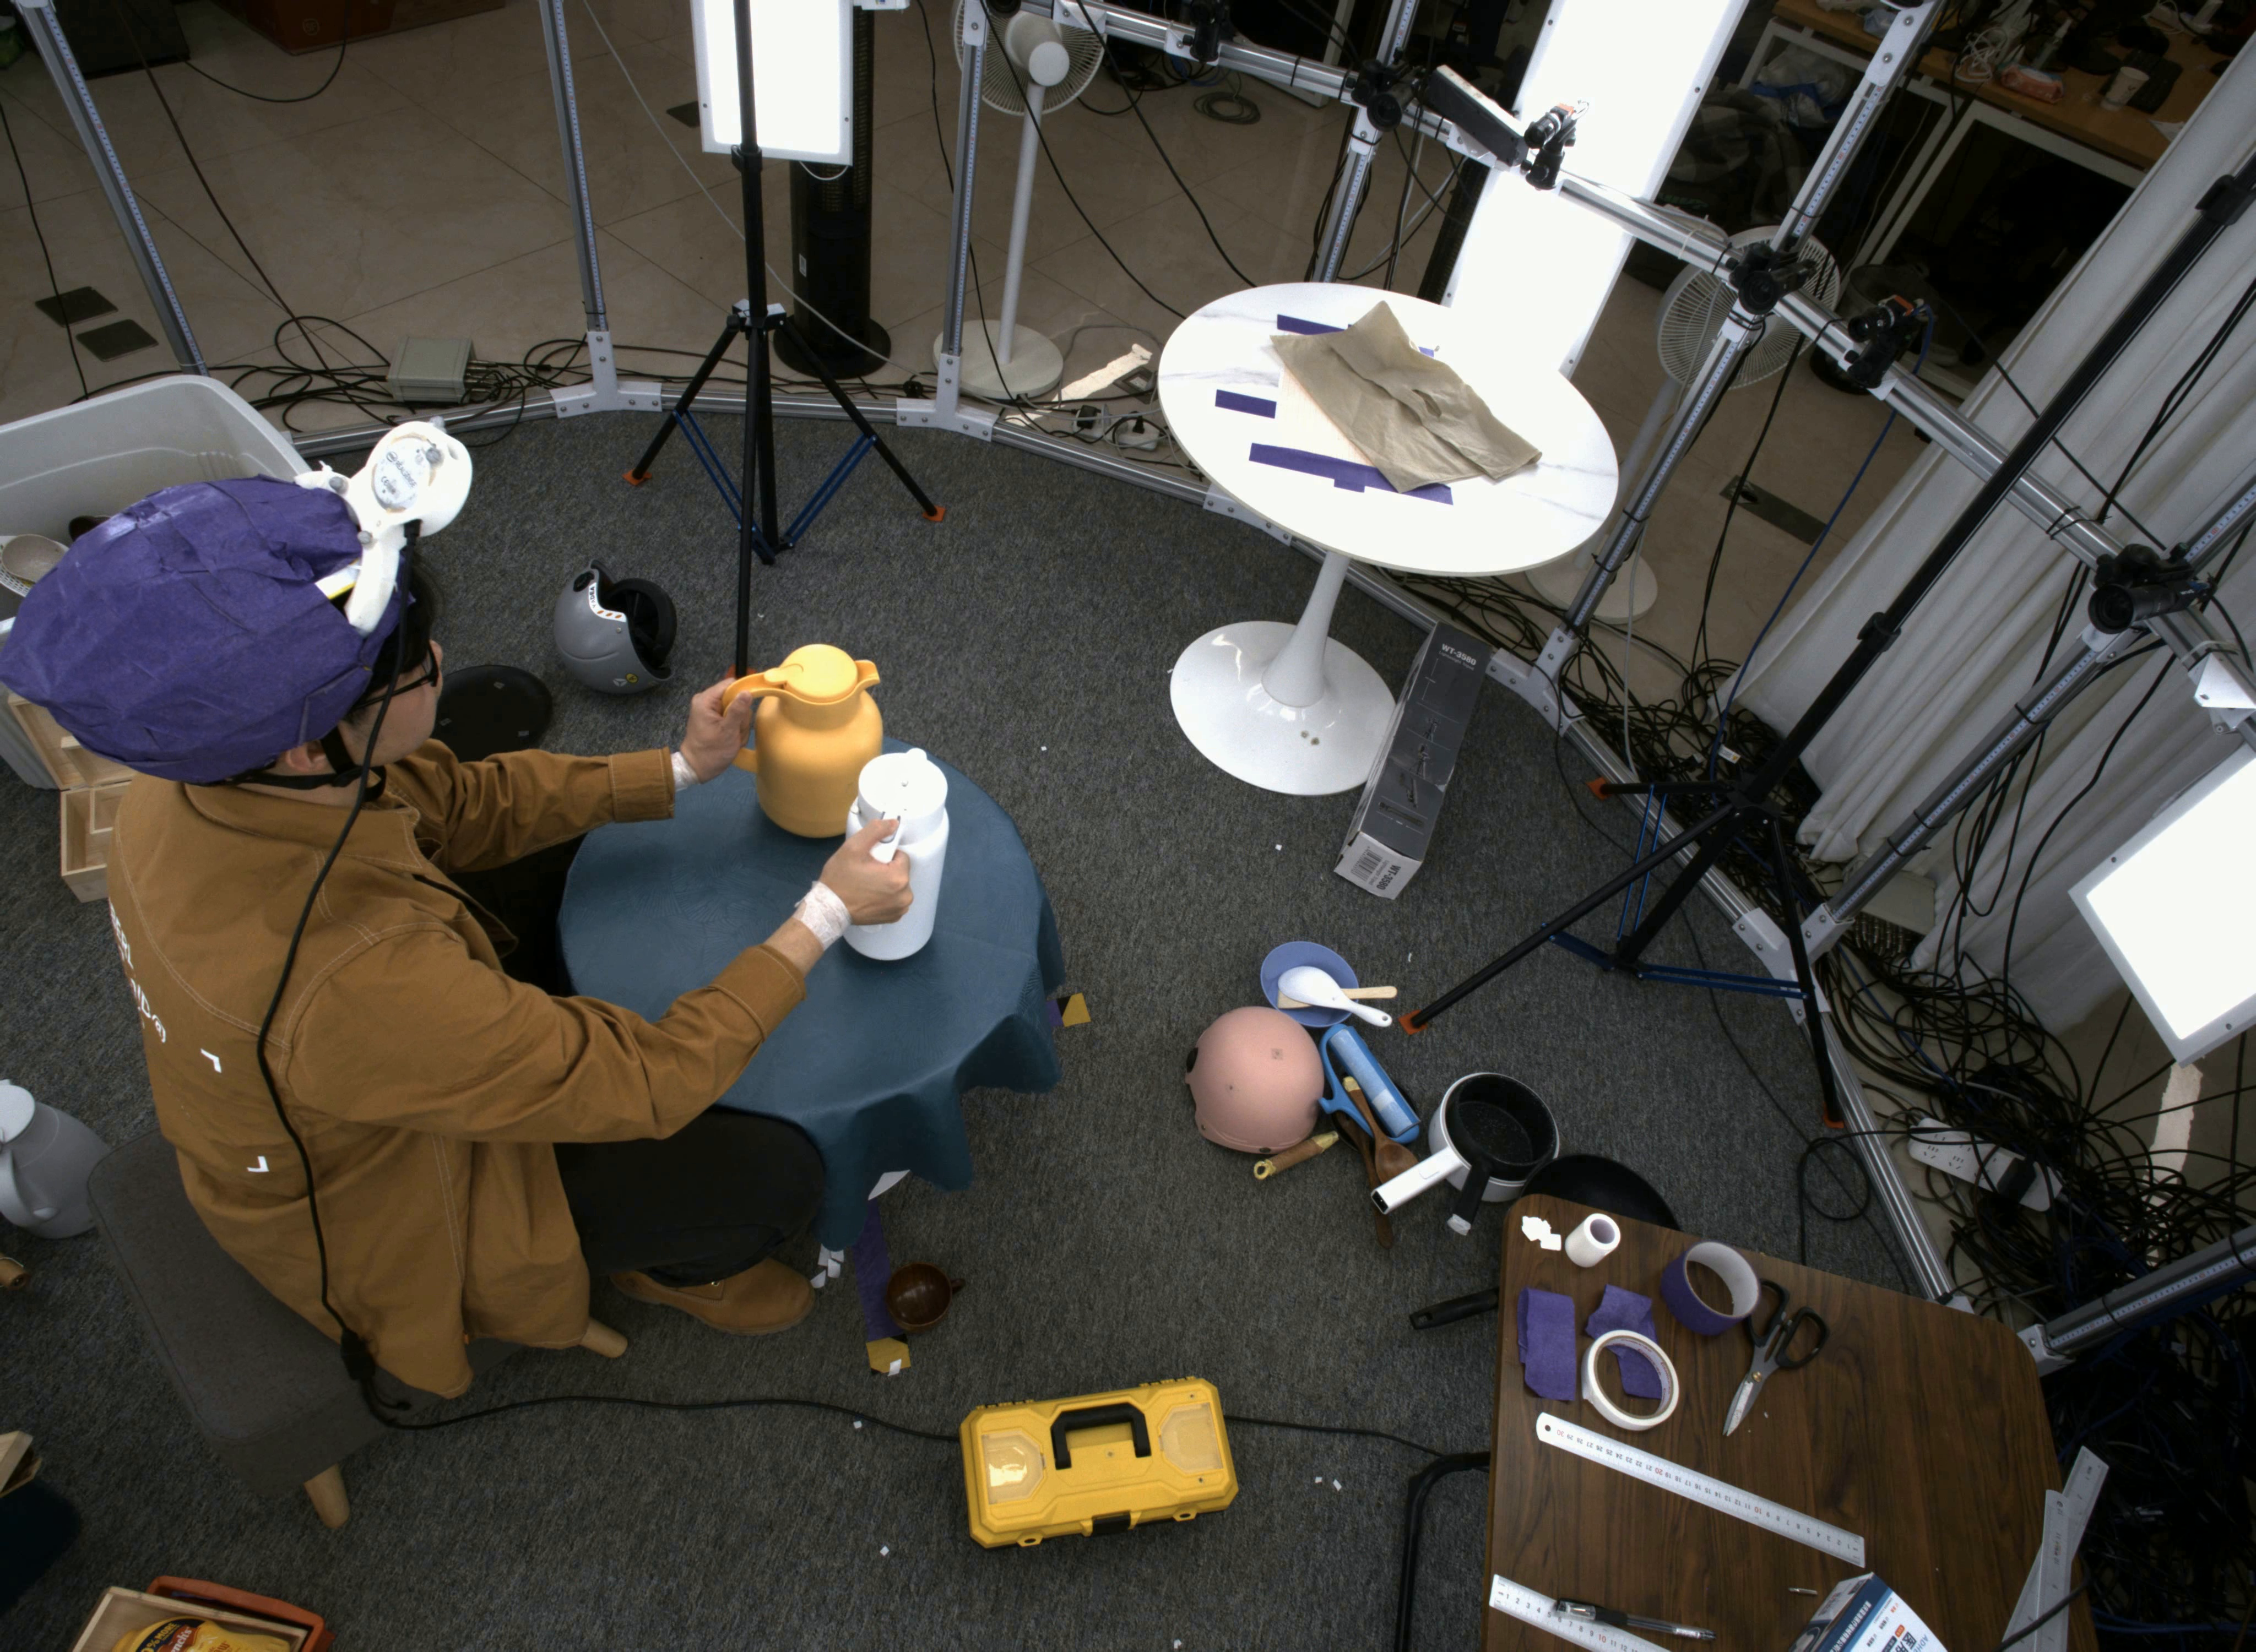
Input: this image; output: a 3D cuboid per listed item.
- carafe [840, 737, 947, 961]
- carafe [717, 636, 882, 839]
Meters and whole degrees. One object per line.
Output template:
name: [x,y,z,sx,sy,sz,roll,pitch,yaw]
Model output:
carafe: [-0.279,0.047,1.521,0.123,0.274,0.170,15,47,-5]
carafe: [-0.412,-0.116,1.631,0.203,0.266,0.159,-6,51,-20]
